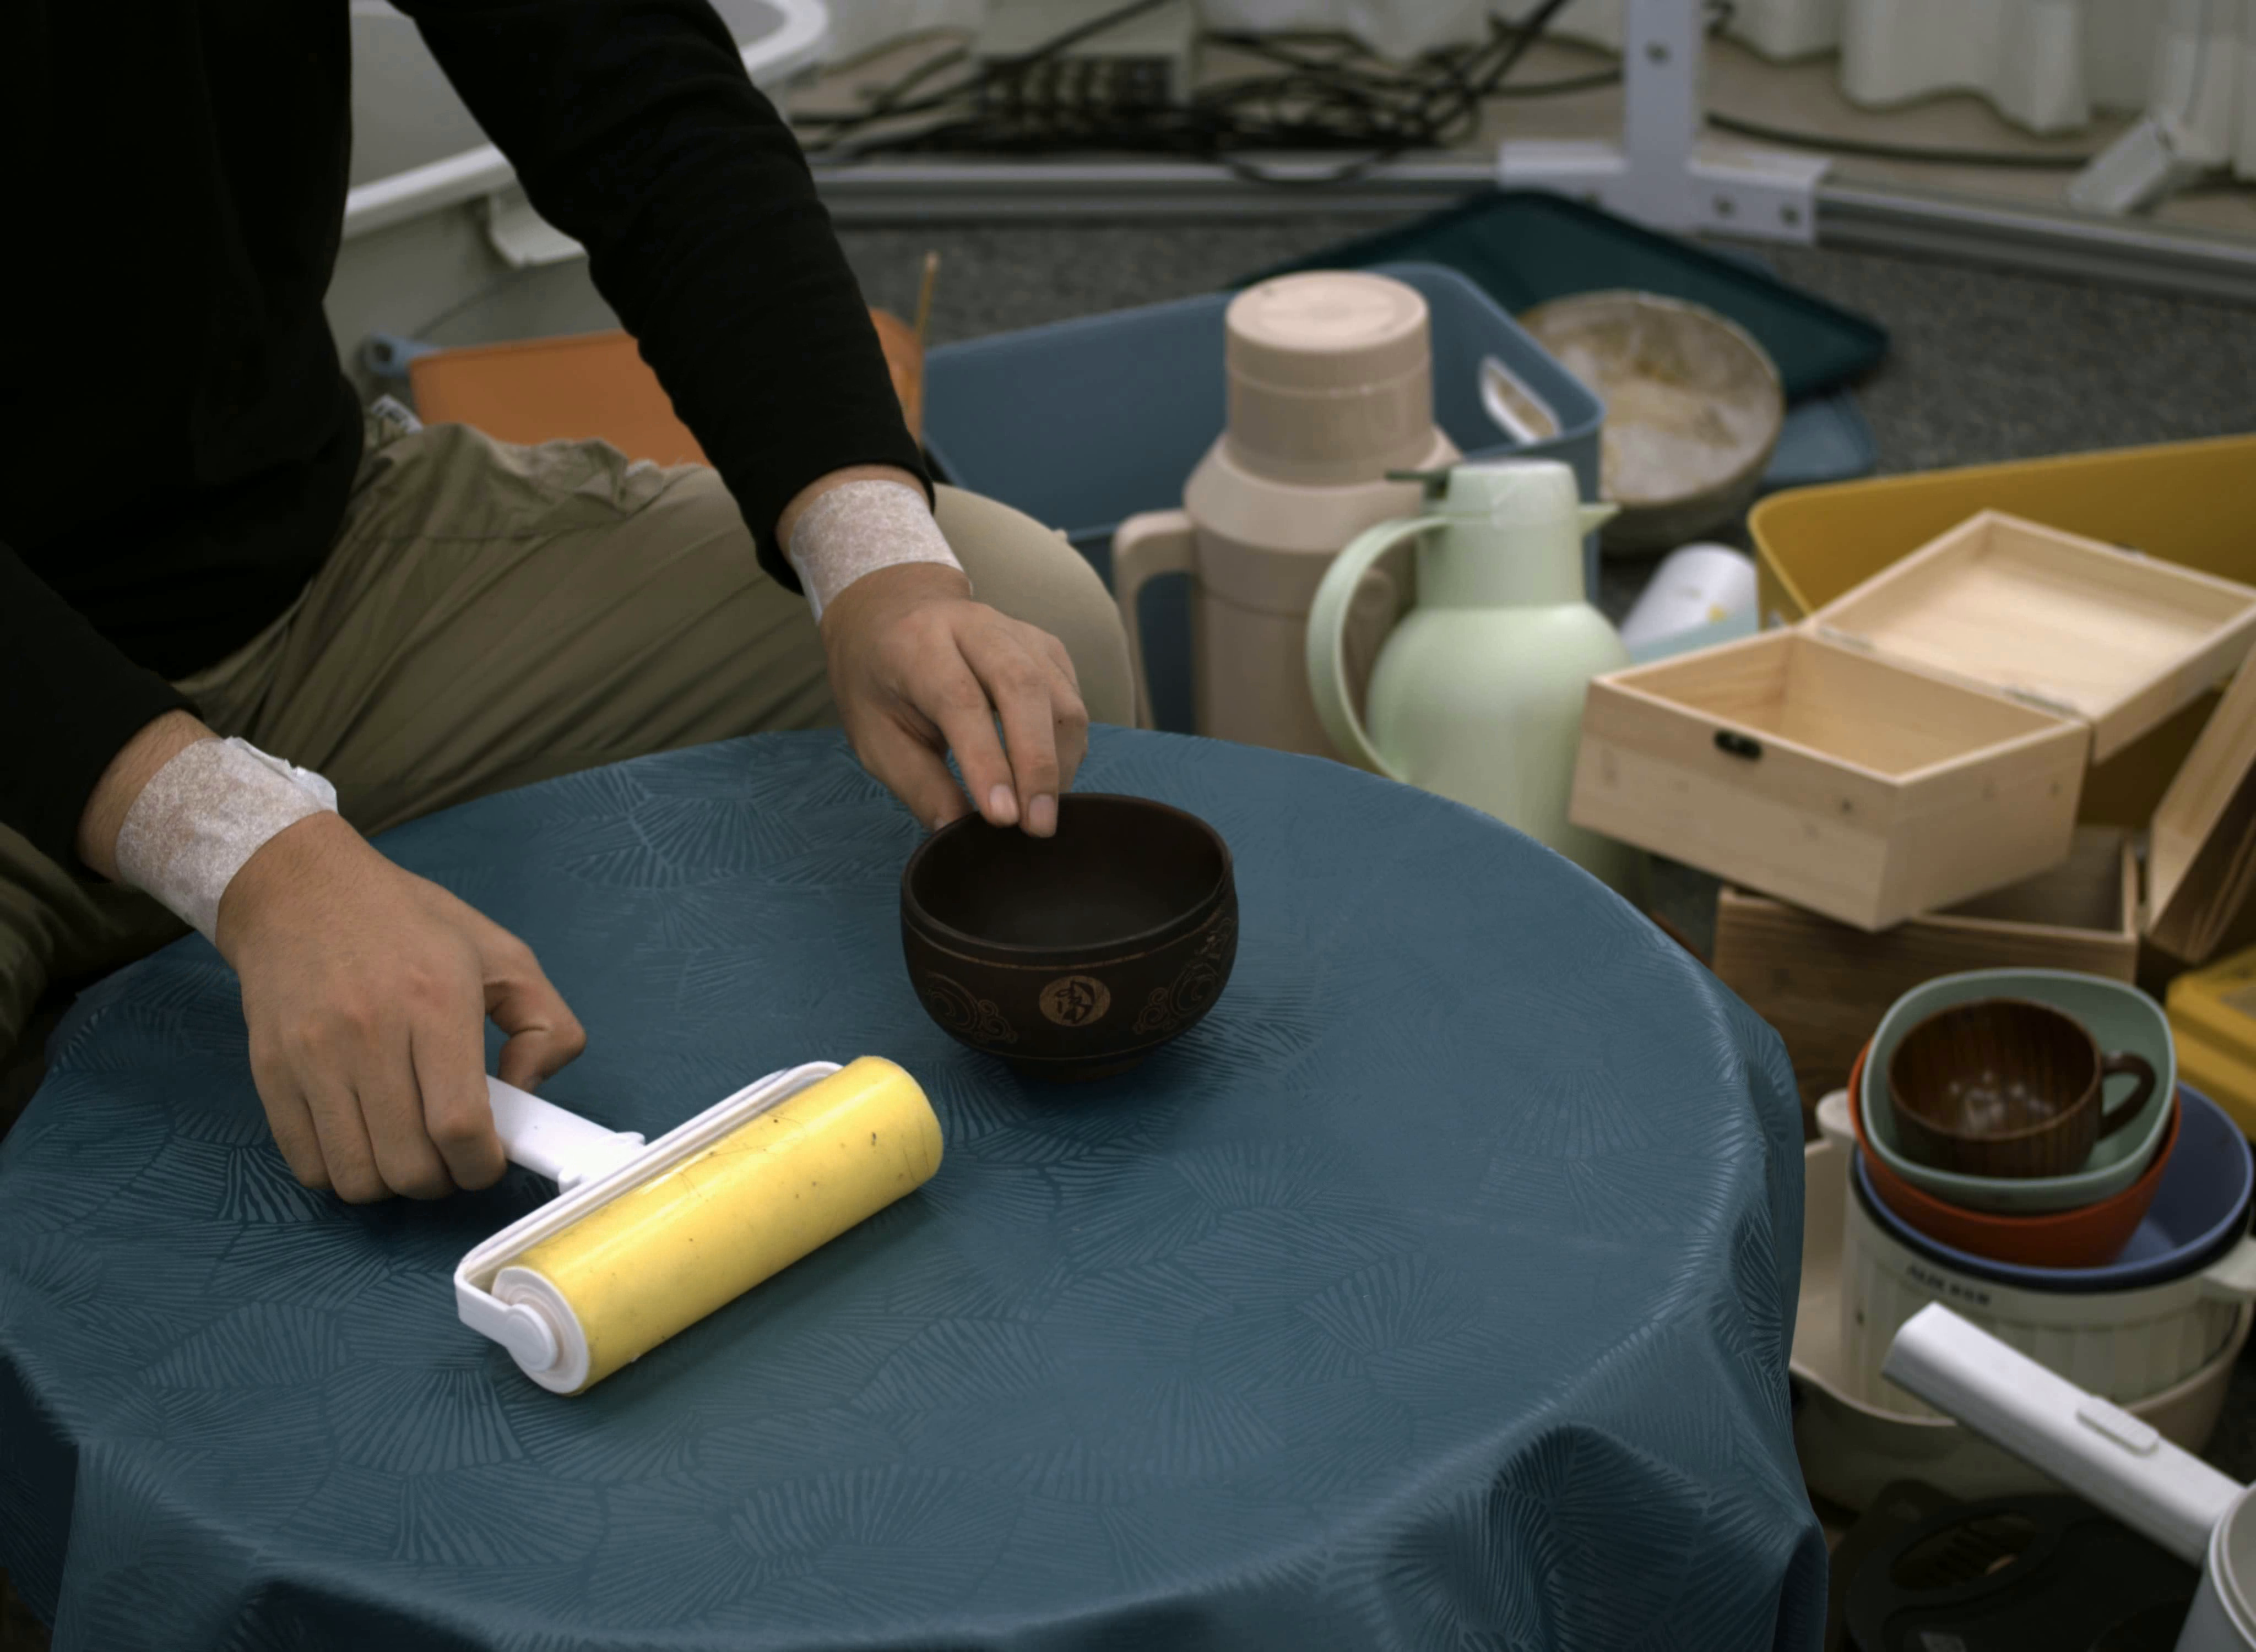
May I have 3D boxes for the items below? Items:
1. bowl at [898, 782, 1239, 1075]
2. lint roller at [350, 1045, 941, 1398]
[{"bbox_3d":[-0.020,0.042,1.936,0.117,0.069,0.120,-1,28,1],"label":"bowl"},{"bbox_3d":[-0.186,0.102,1.848,0.192,0.051,0.176,28,39,30],"label":"lint roller"}]
